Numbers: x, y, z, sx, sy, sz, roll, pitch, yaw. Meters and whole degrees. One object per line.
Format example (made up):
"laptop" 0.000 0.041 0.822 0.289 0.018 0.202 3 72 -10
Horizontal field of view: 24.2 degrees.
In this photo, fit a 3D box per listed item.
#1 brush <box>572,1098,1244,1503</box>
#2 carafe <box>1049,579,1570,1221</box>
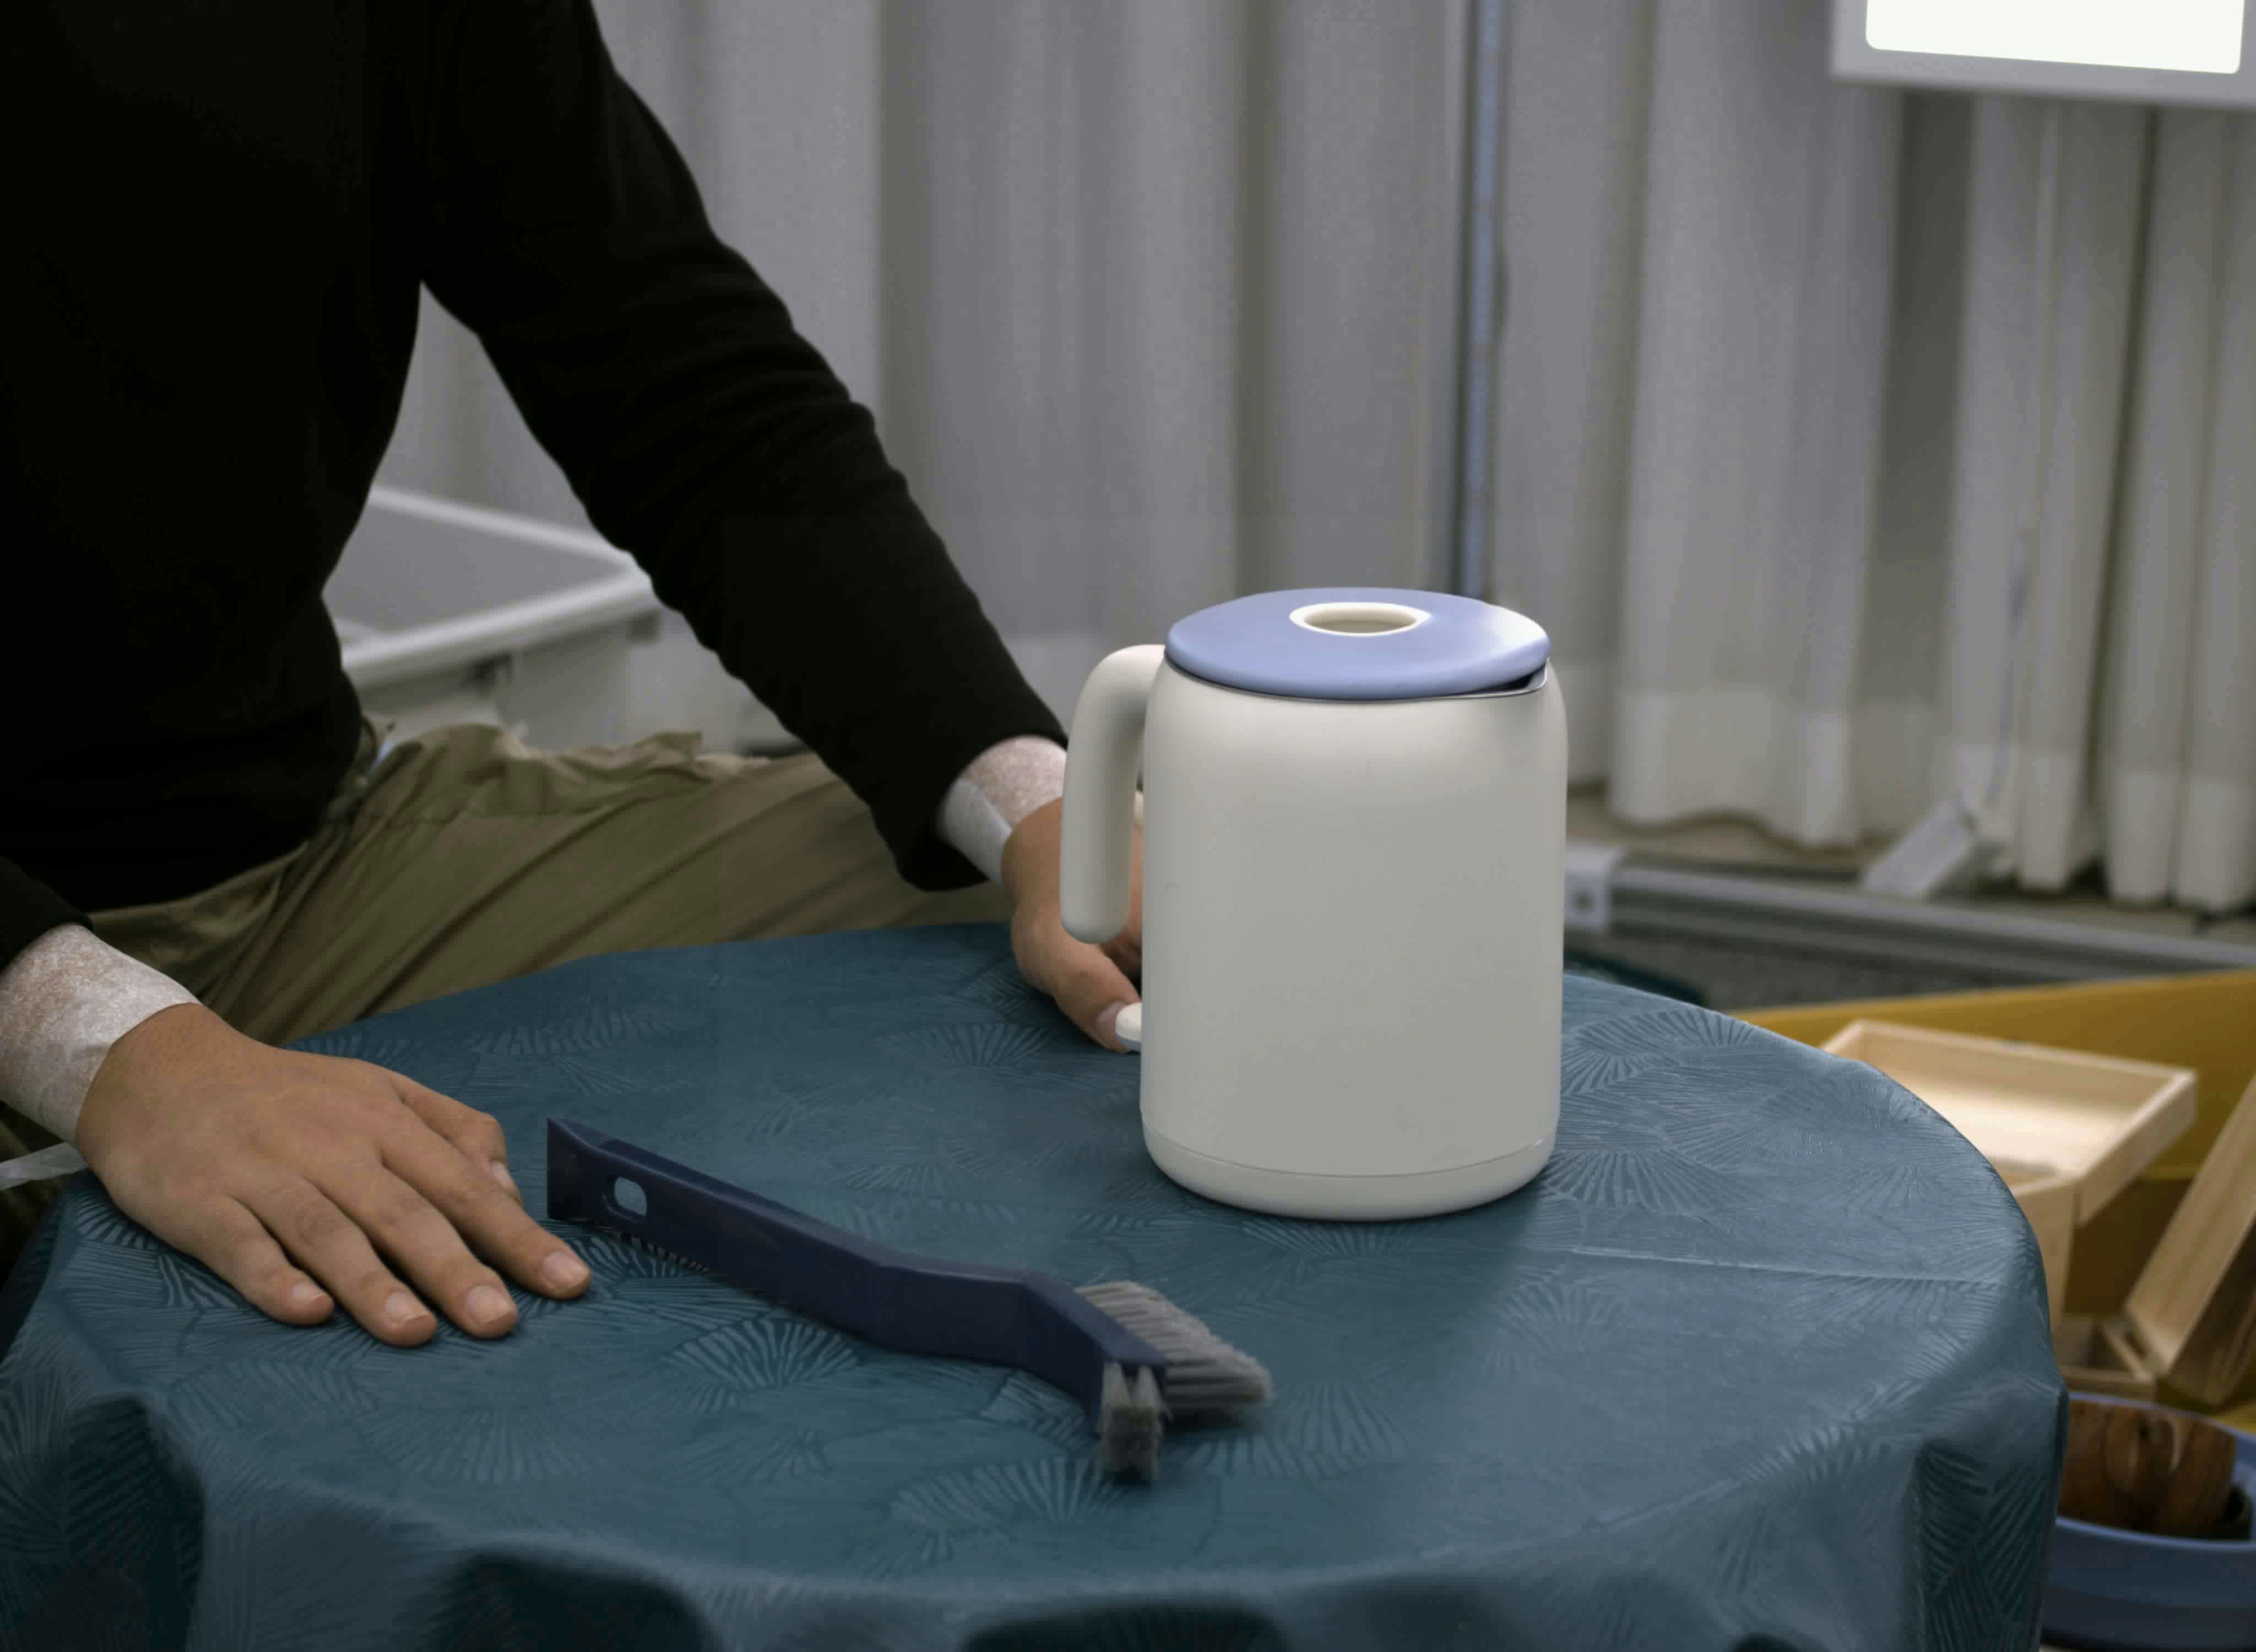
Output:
"brush" -0.081 0.130 1.496 0.269 0.034 0.096 13 23 37
"carafe" 0.051 0.018 1.641 0.188 0.184 0.133 12 19 38
